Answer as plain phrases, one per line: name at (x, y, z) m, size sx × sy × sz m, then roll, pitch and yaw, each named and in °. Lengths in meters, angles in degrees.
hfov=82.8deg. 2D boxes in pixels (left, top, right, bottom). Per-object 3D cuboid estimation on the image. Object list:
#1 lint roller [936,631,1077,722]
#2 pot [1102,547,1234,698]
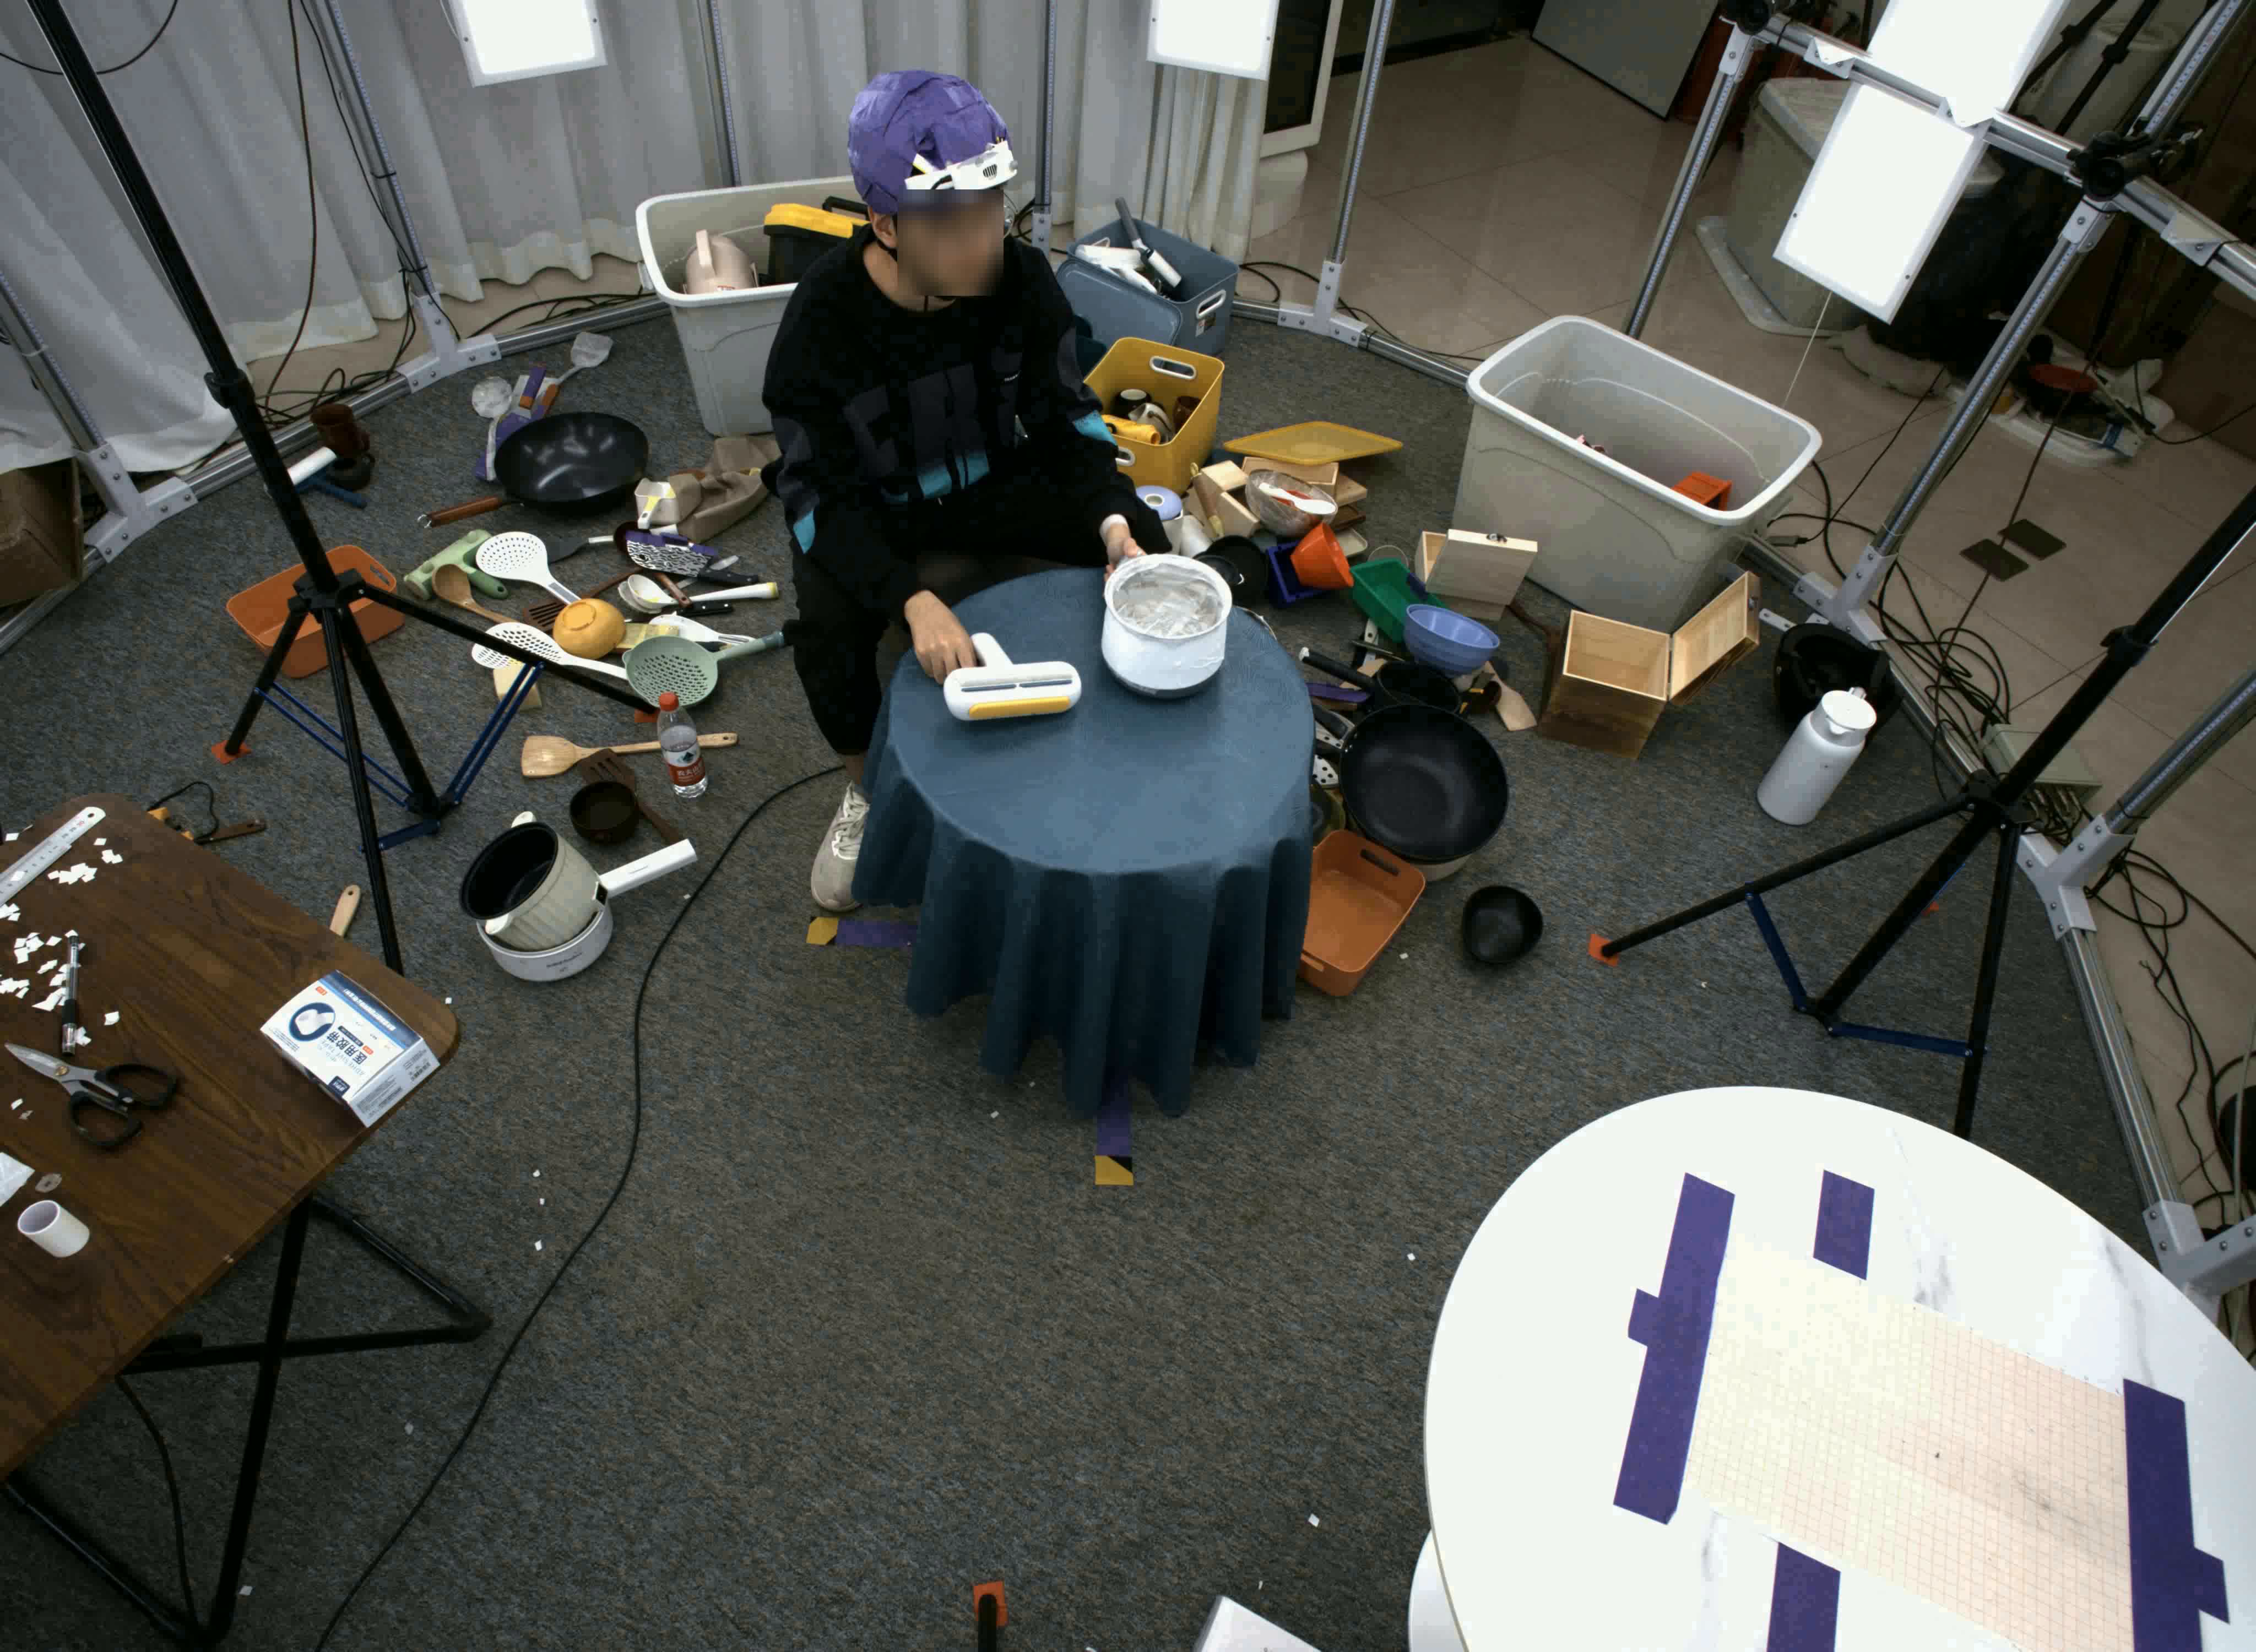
lint roller at (-0.182, -0.223, 1.806) m, size 0.192 × 0.072 × 0.197 m, roll -7°, pitch 48°, yaw -17°
pot at (0.040, -0.300, 1.840) m, size 0.179 × 0.133 × 0.239 m, roll -18°, pitch 54°, yaw -20°
